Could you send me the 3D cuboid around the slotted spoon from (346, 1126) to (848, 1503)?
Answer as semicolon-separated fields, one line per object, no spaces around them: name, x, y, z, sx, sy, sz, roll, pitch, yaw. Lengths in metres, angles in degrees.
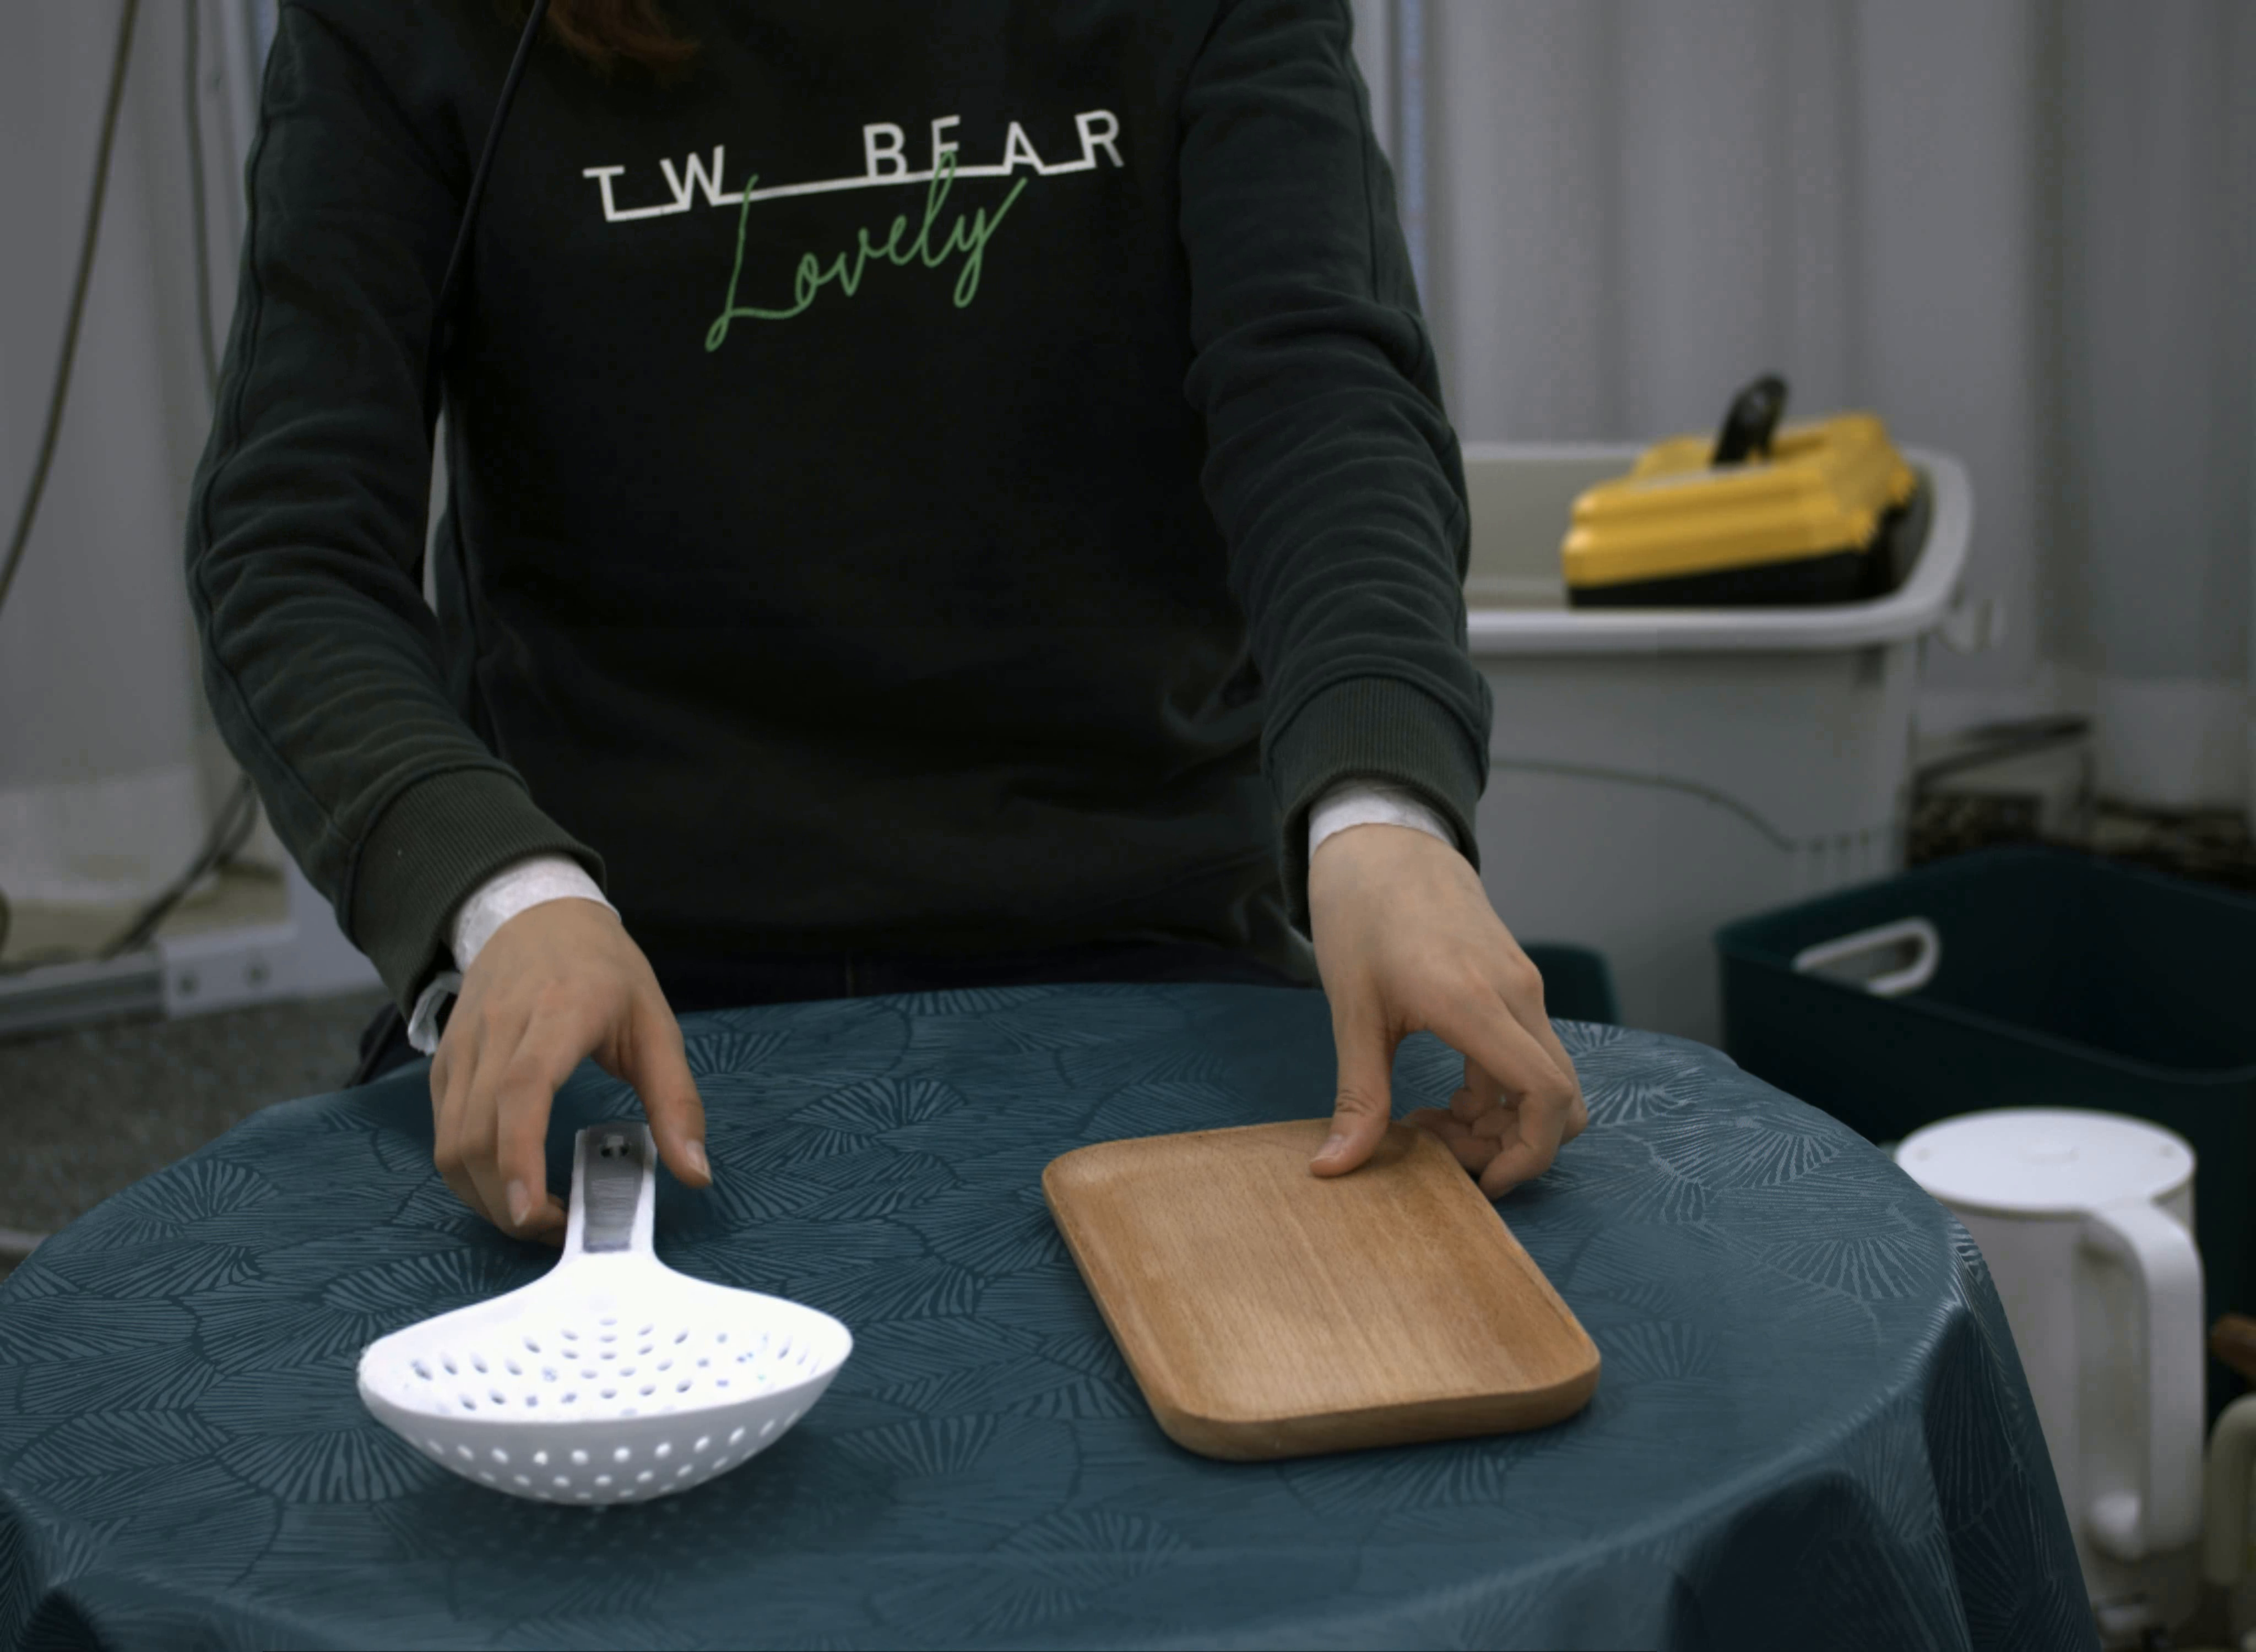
slotted spoon;-0.151;0.132;1.589;0.135;0.045;0.352;-2;14;-4

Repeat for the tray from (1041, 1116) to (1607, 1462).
tray;0.053;0.133;1.604;0.130;0.023;0.252;-3;14;-9
